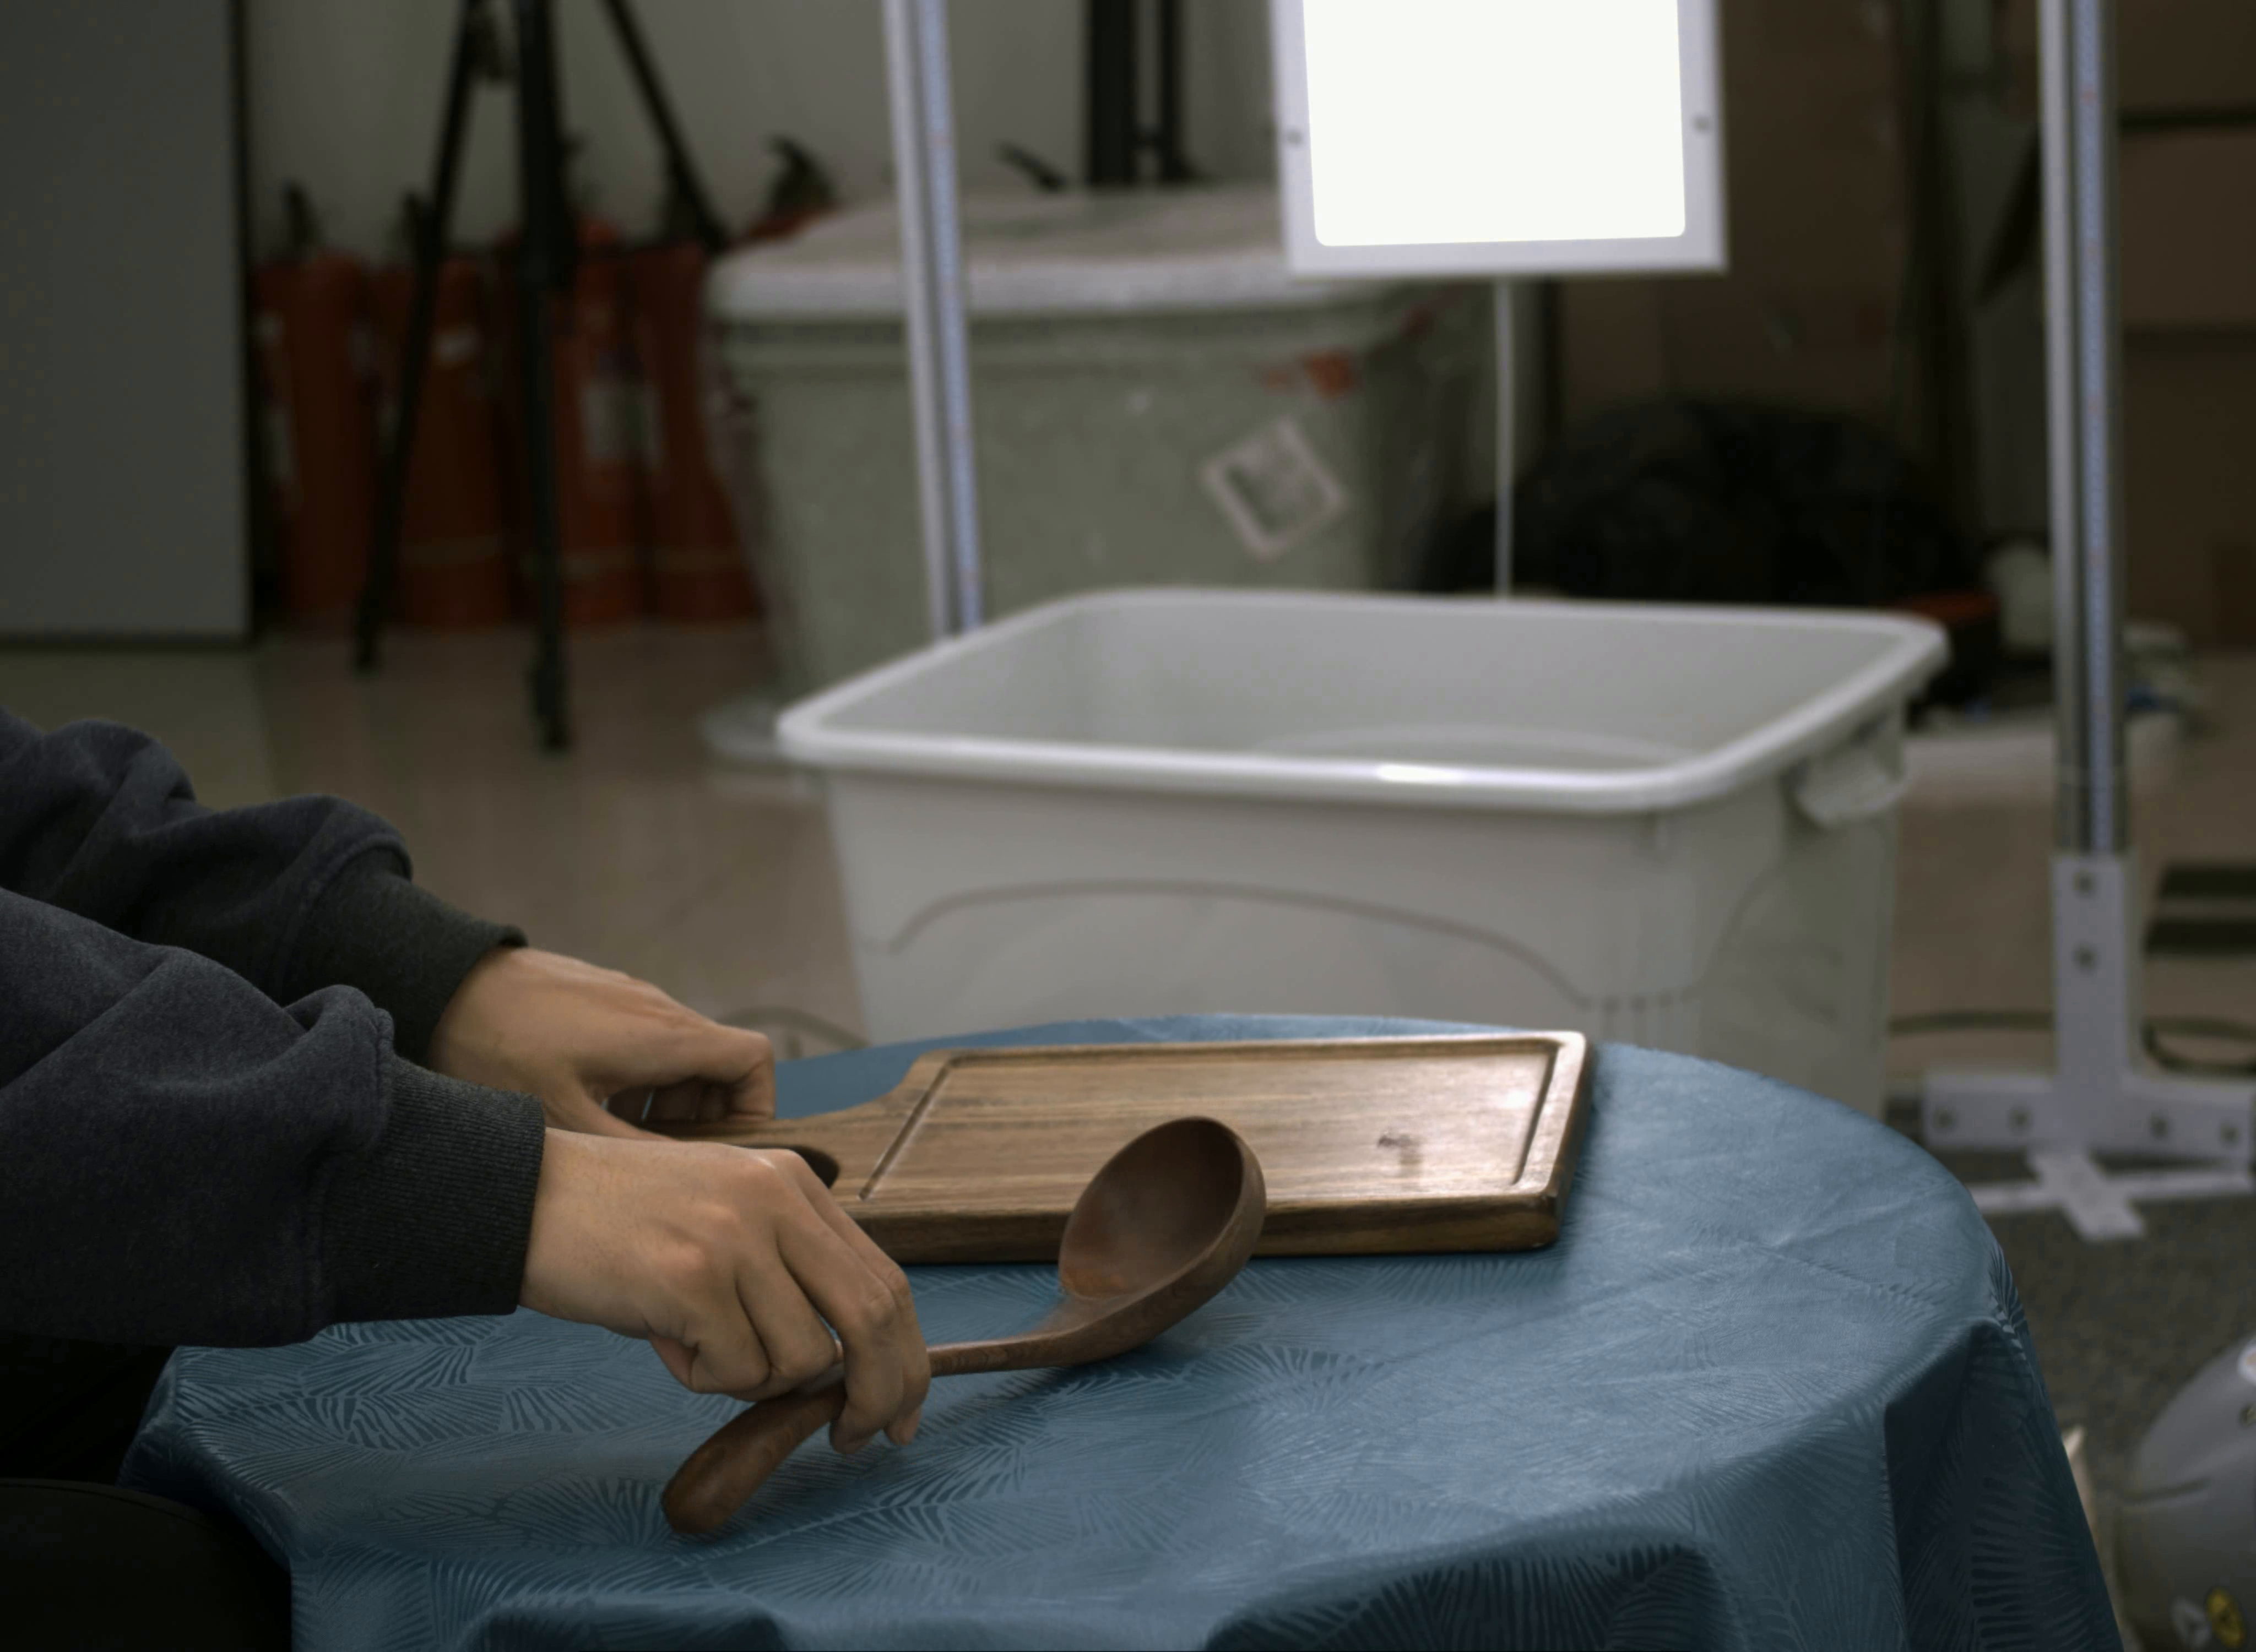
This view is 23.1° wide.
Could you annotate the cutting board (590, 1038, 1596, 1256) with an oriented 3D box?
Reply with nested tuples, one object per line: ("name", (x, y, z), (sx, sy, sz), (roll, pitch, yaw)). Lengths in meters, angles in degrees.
("cutting board", (-0.016, 0.111, 1.918), (0.354, 0.023, 0.199), (-2, 13, 11))

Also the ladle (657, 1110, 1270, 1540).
("ladle", (-0.053, 0.149, 1.685), (0.253, 0.065, 0.078), (-18, 5, -44))
